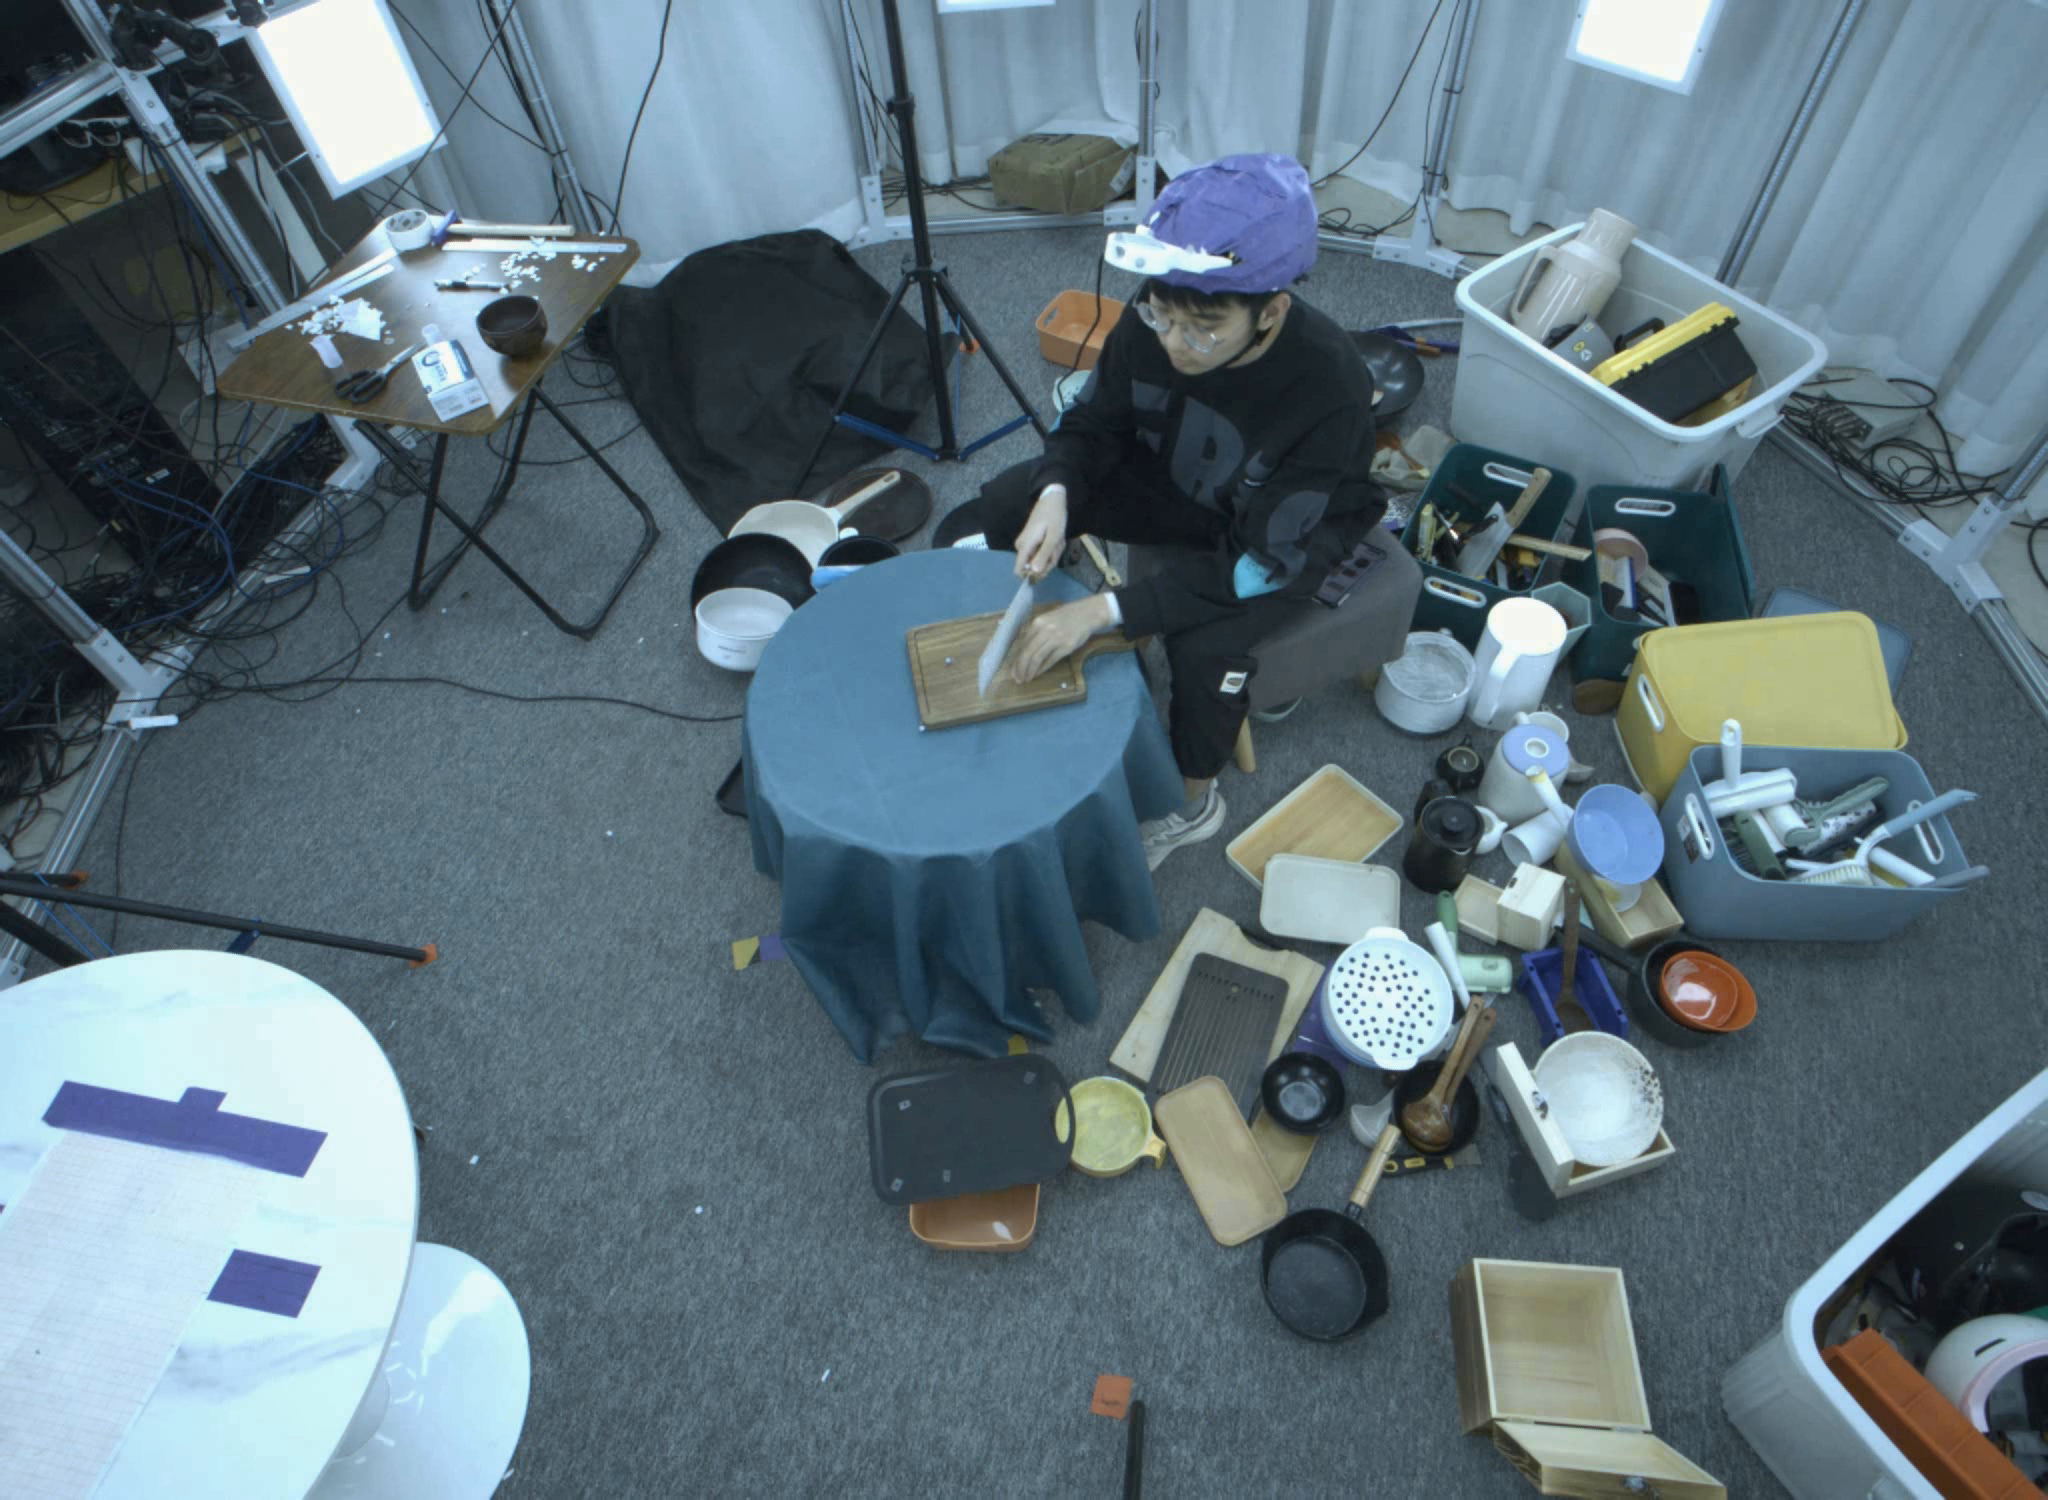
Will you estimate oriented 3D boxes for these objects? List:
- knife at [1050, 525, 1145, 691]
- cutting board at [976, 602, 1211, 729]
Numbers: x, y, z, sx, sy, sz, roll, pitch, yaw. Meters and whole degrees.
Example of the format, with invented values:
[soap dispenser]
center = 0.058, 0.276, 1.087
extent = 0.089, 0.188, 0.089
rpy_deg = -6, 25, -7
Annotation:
[knife]
center = 0.107, -0.209, 1.825
extent = 0.021, 0.094, 0.306
rpy_deg = 23, 60, 14
[cutting board]
center = 0.111, -0.138, 1.867
extent = 0.353, 0.023, 0.198
rpy_deg = -8, 55, -3
